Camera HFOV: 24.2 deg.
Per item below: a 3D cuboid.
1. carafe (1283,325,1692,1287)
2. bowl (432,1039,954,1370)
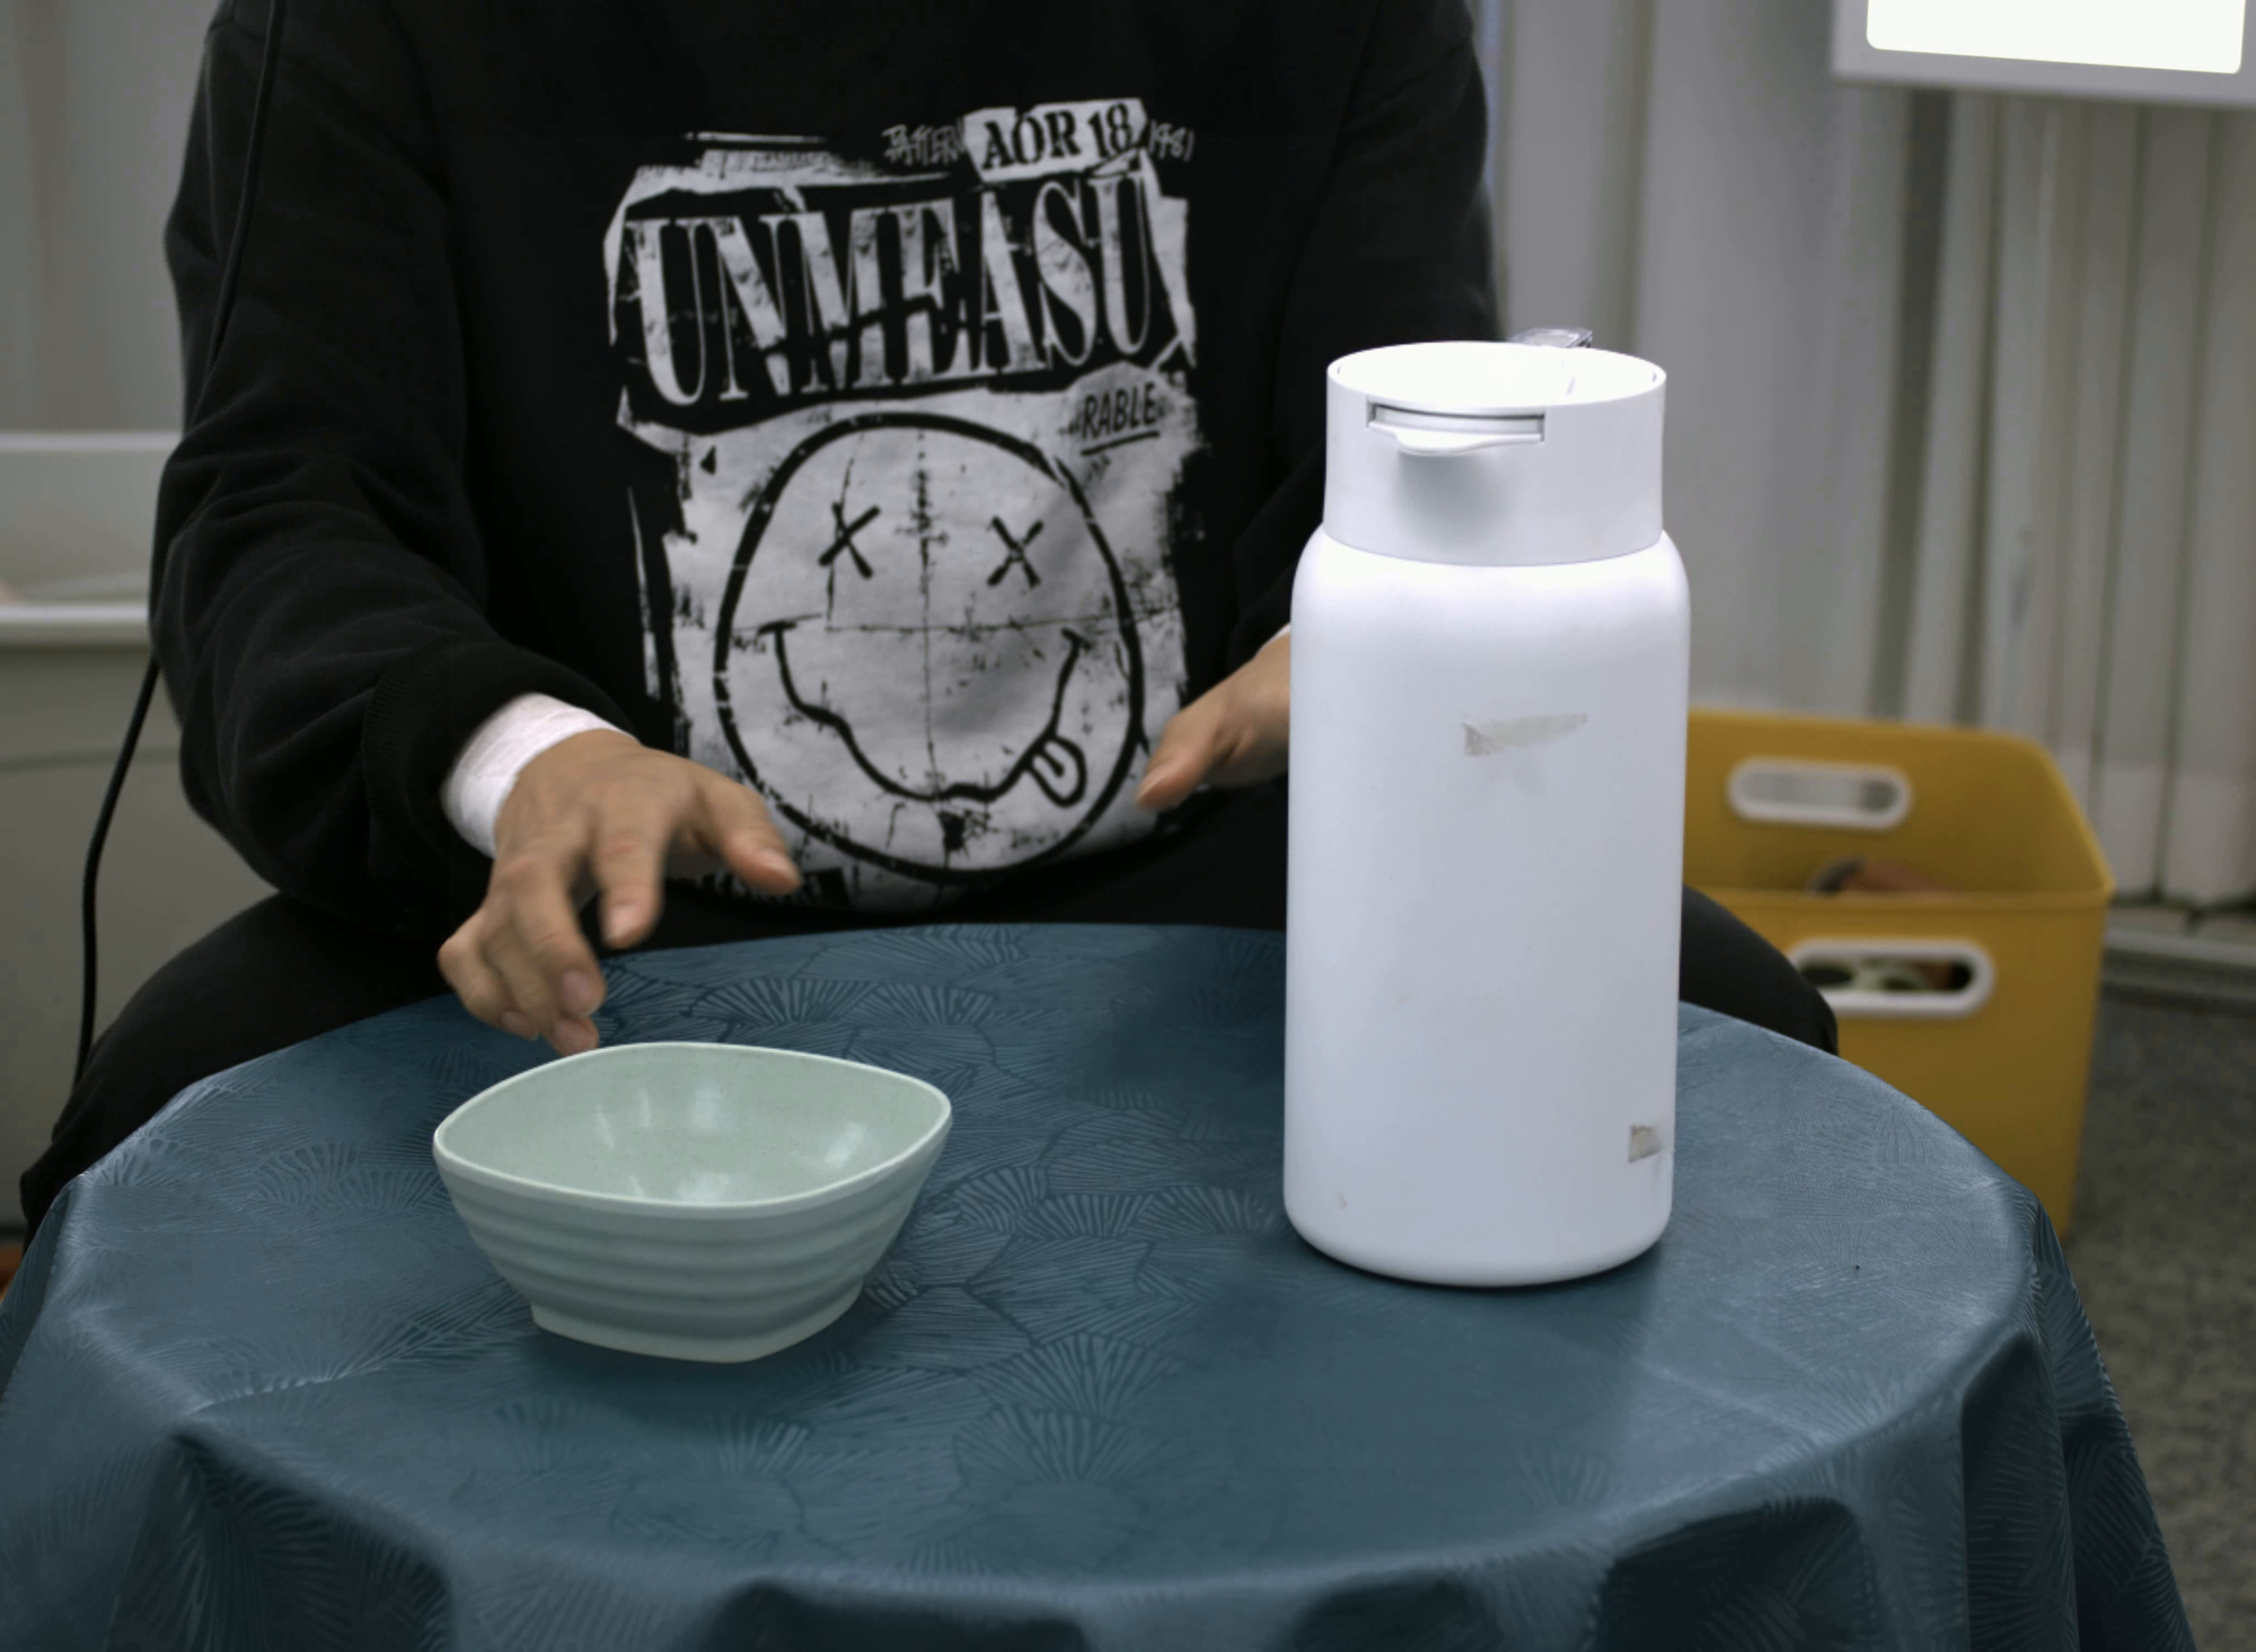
[{"bbox_3d":[0.110,-0.011,1.568,0.123,0.271,0.173,4,16,18],"label":"carafe"},{"bbox_3d":[-0.124,0.112,1.517,0.151,0.059,0.150,0,17,0],"label":"bowl"}]
